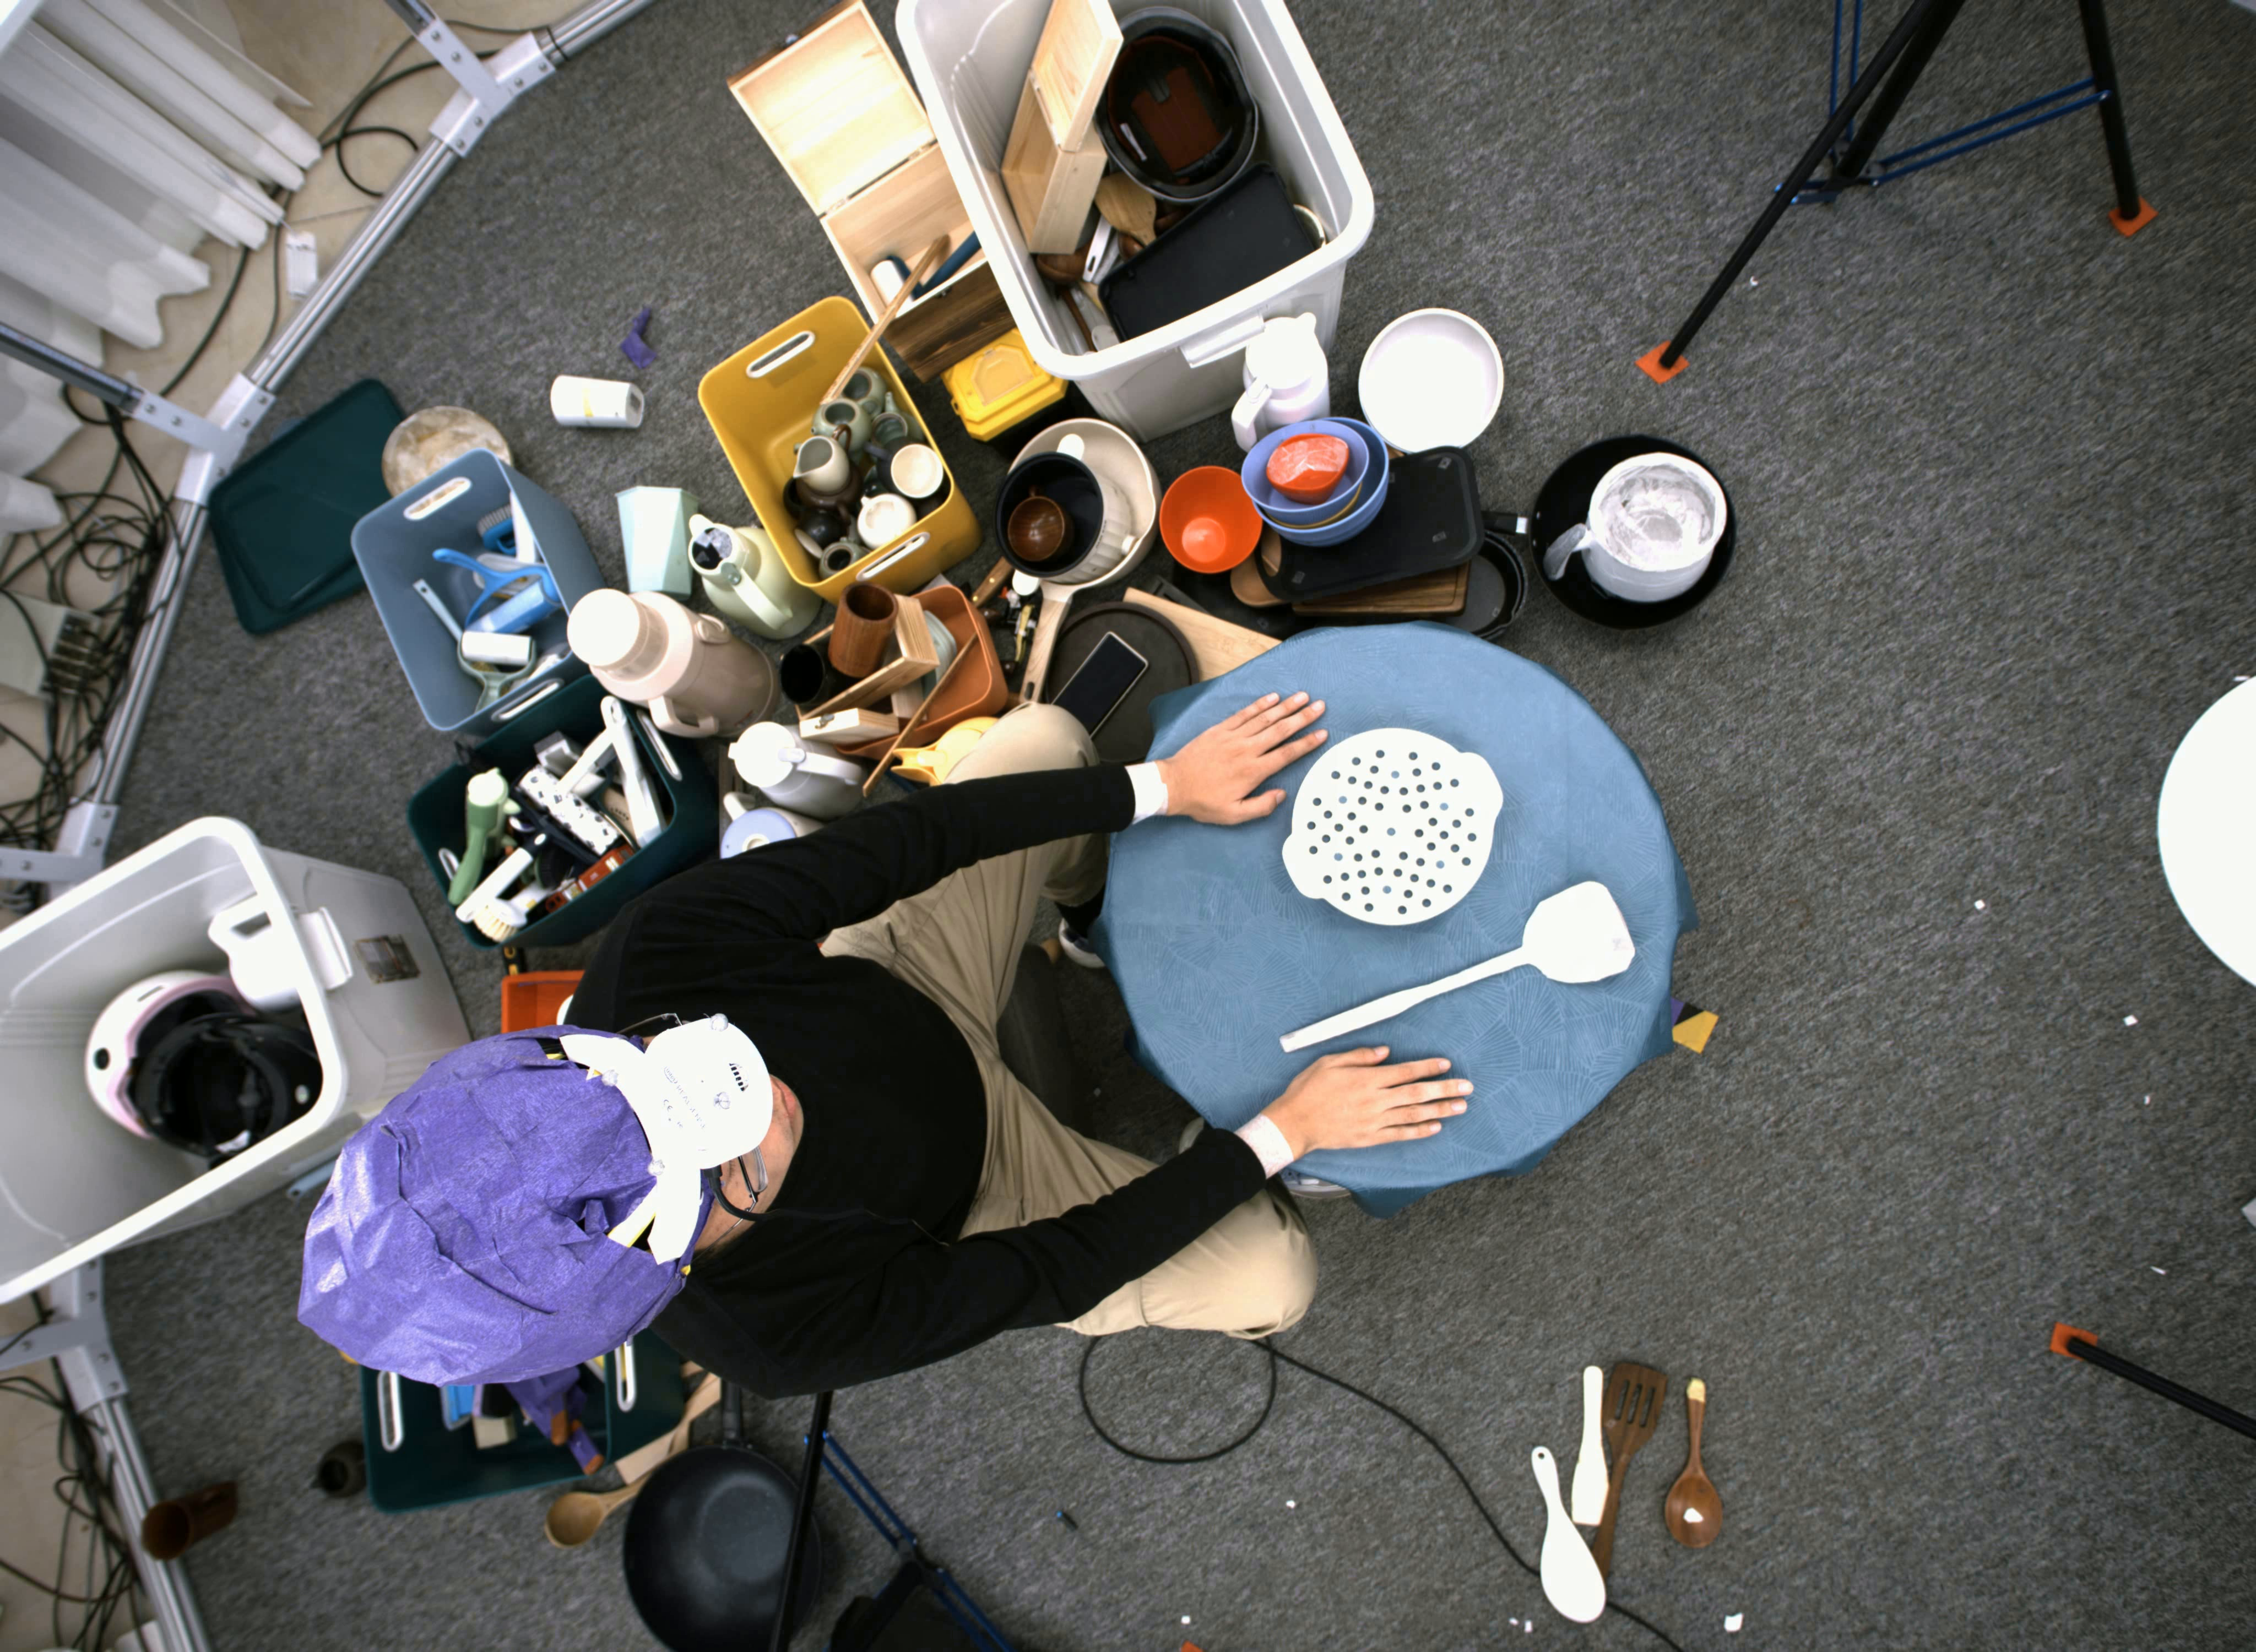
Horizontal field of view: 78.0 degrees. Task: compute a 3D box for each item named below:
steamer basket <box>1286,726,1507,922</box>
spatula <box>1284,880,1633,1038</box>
[{"bbox_3d":[0.277,-0.001,1.427,0.232,0.069,0.200,-26,81,9],"label":"steamer basket"},{"bbox_3d":[0.335,0.155,1.424,0.367,0.045,0.098,-21,85,9],"label":"spatula"}]
